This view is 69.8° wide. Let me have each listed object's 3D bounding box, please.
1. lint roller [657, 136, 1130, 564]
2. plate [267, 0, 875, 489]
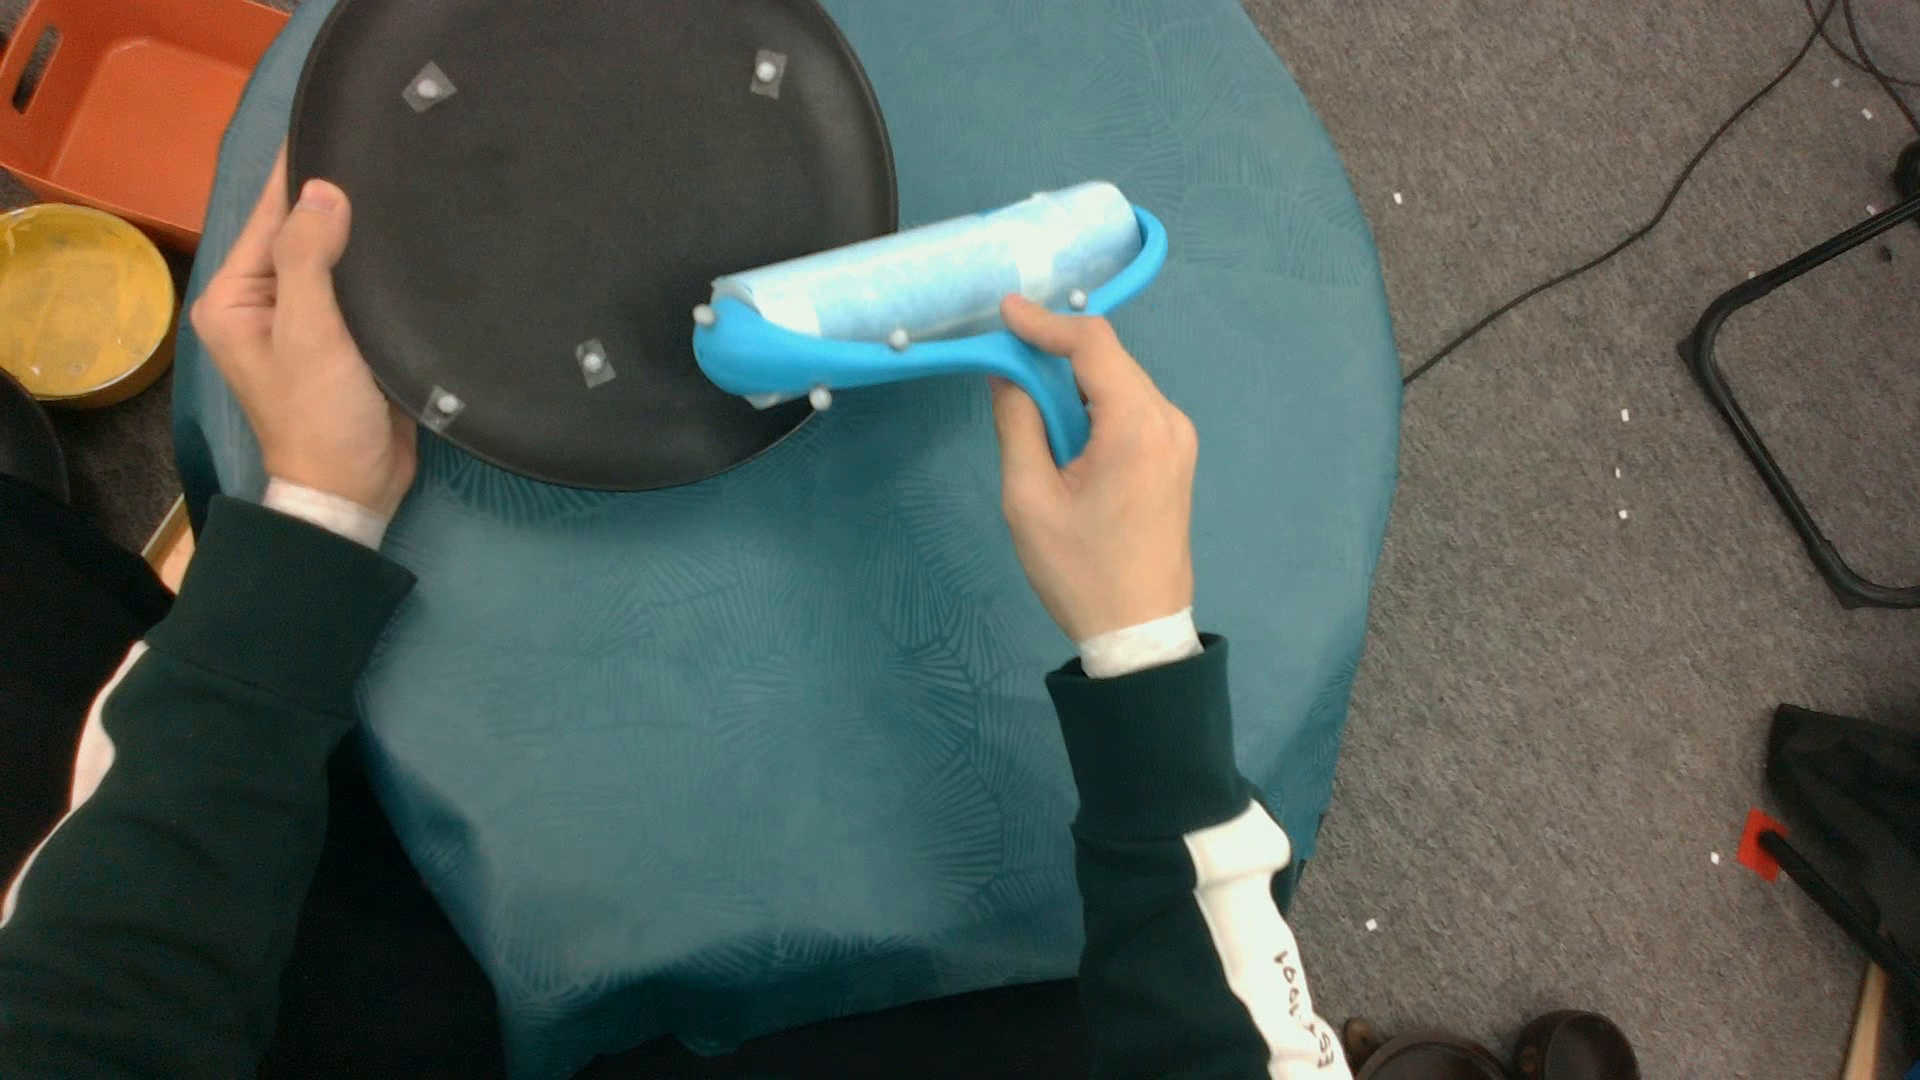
[{"bbox_3d":[0.009,-0.078,0.579,0.230,0.067,0.180,-28,76,-32],"label":"lint roller"},{"bbox_3d":[-0.155,-0.143,0.578,0.245,0.023,0.244,-3,97,-20],"label":"plate"}]
